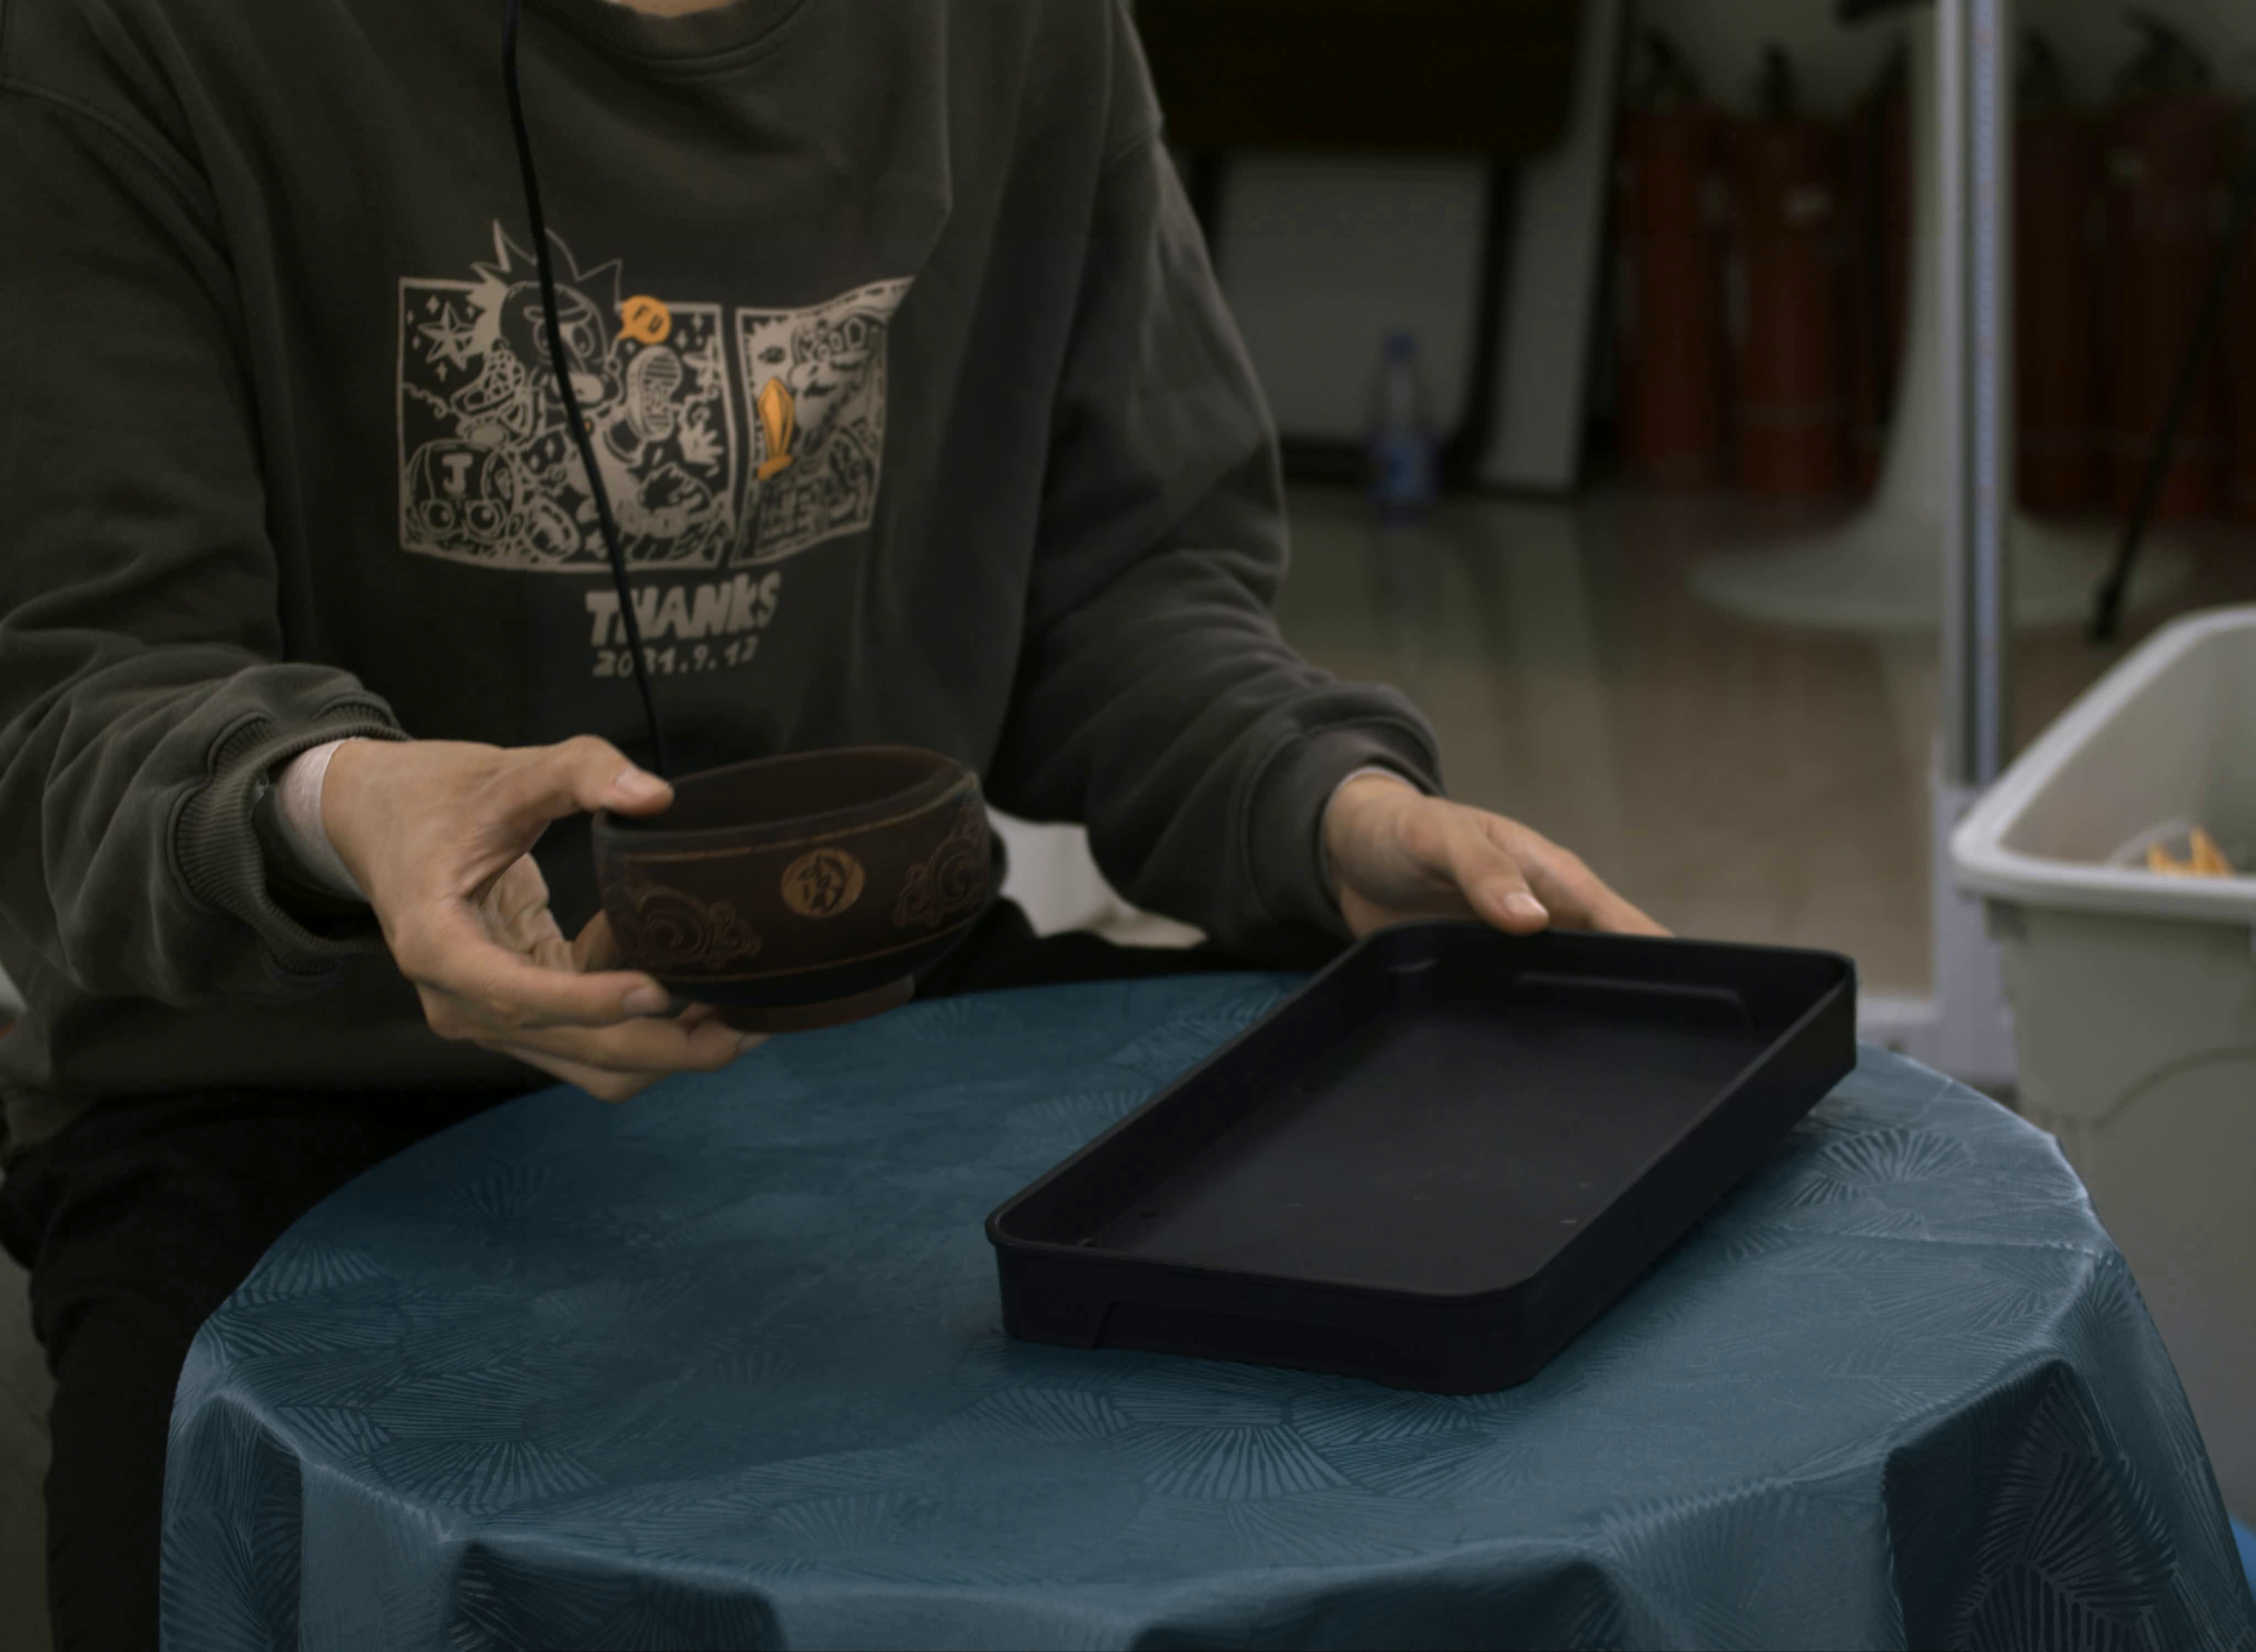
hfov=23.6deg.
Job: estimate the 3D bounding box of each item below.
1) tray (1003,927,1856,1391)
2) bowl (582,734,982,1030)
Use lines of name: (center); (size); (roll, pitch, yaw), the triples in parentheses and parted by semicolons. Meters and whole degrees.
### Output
tray: (0.105, 0.100, 1.726); (0.185, 0.037, 0.314); (2, 18, 27)
bowl: (-0.098, 0.019, 1.590); (0.116, 0.070, 0.118); (-10, 9, 1)
